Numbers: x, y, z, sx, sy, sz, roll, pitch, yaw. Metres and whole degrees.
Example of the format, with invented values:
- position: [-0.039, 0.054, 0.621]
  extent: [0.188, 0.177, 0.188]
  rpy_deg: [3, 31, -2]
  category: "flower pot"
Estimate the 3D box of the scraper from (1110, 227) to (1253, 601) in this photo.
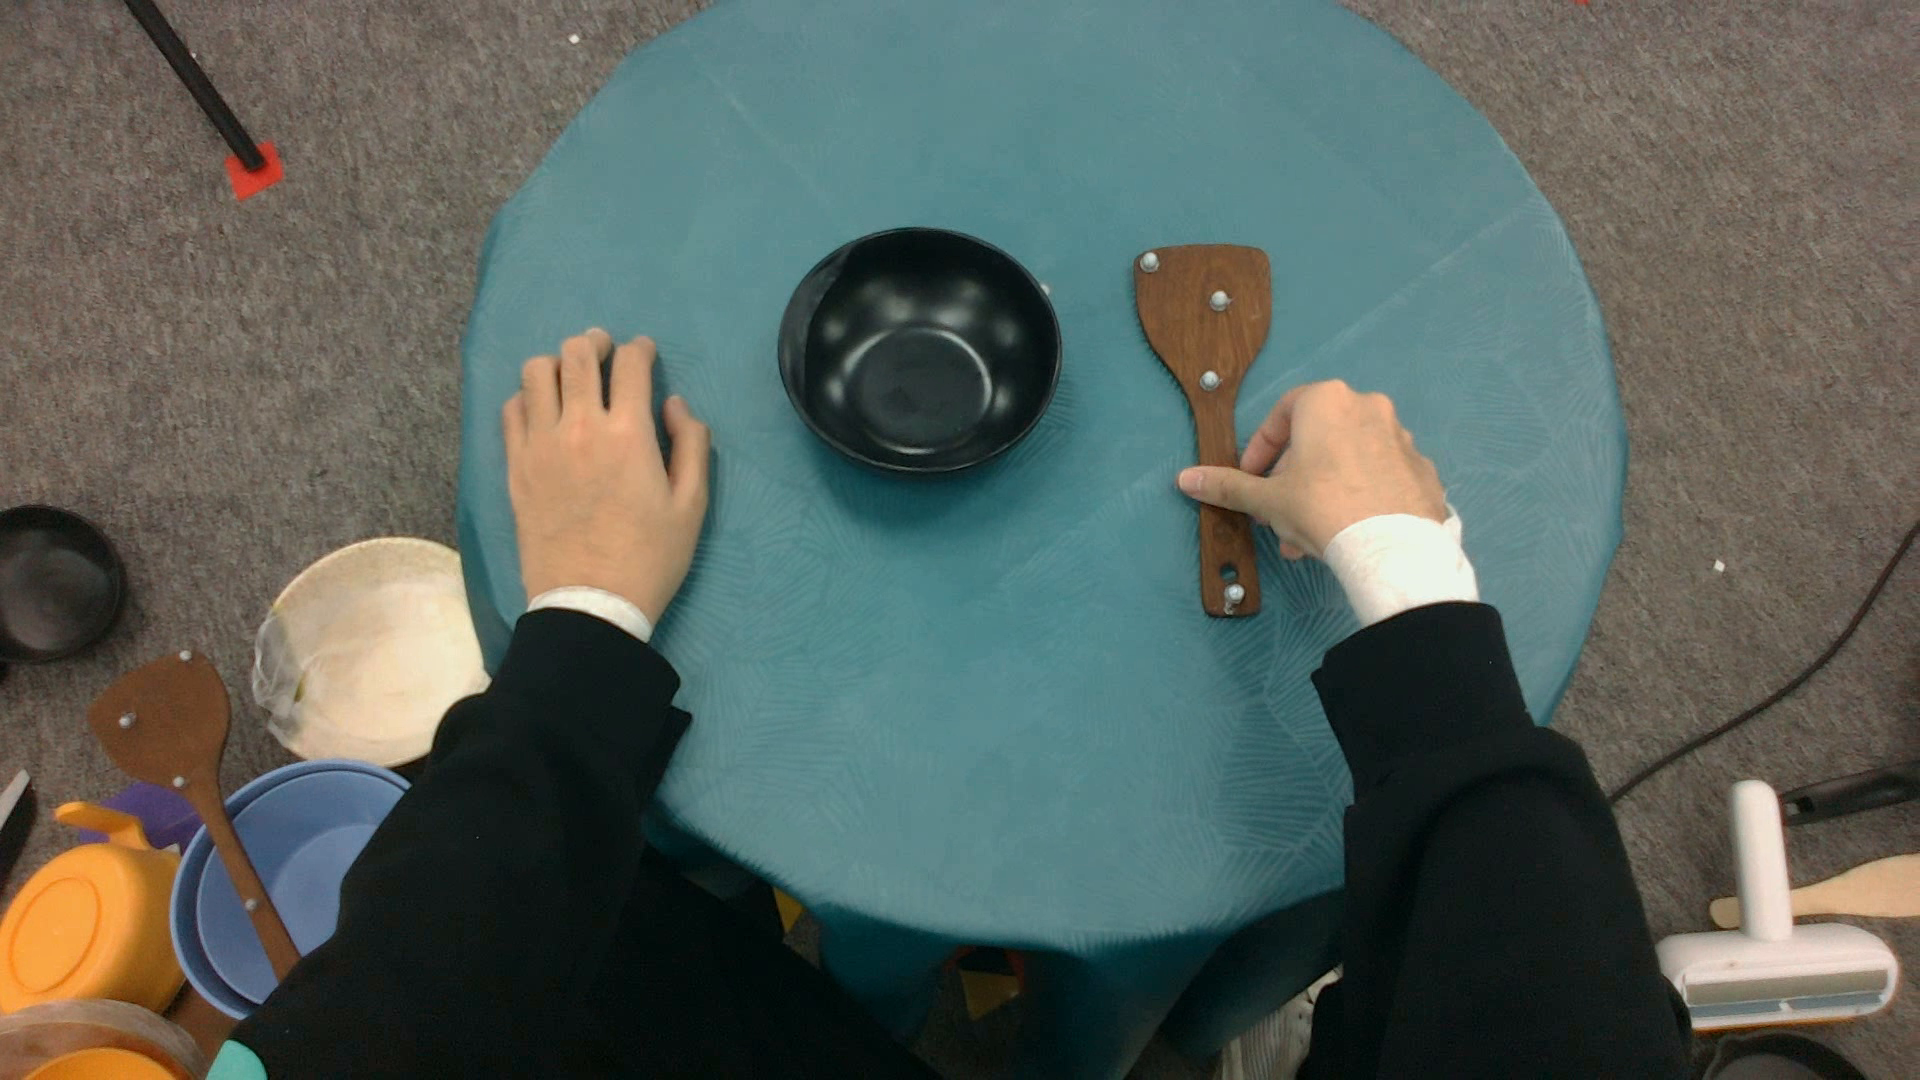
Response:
- position: [0.120, -0.069, 0.704]
  extent: [0.076, 0.011, 0.212]
  rpy_deg: [-1, 68, -1]
  category: "scraper"

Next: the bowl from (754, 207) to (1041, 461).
- position: [-0.031, -0.095, 0.685]
  extent: [0.140, 0.049, 0.140]
  rpy_deg: [2, 66, -5]
  category: "bowl"
